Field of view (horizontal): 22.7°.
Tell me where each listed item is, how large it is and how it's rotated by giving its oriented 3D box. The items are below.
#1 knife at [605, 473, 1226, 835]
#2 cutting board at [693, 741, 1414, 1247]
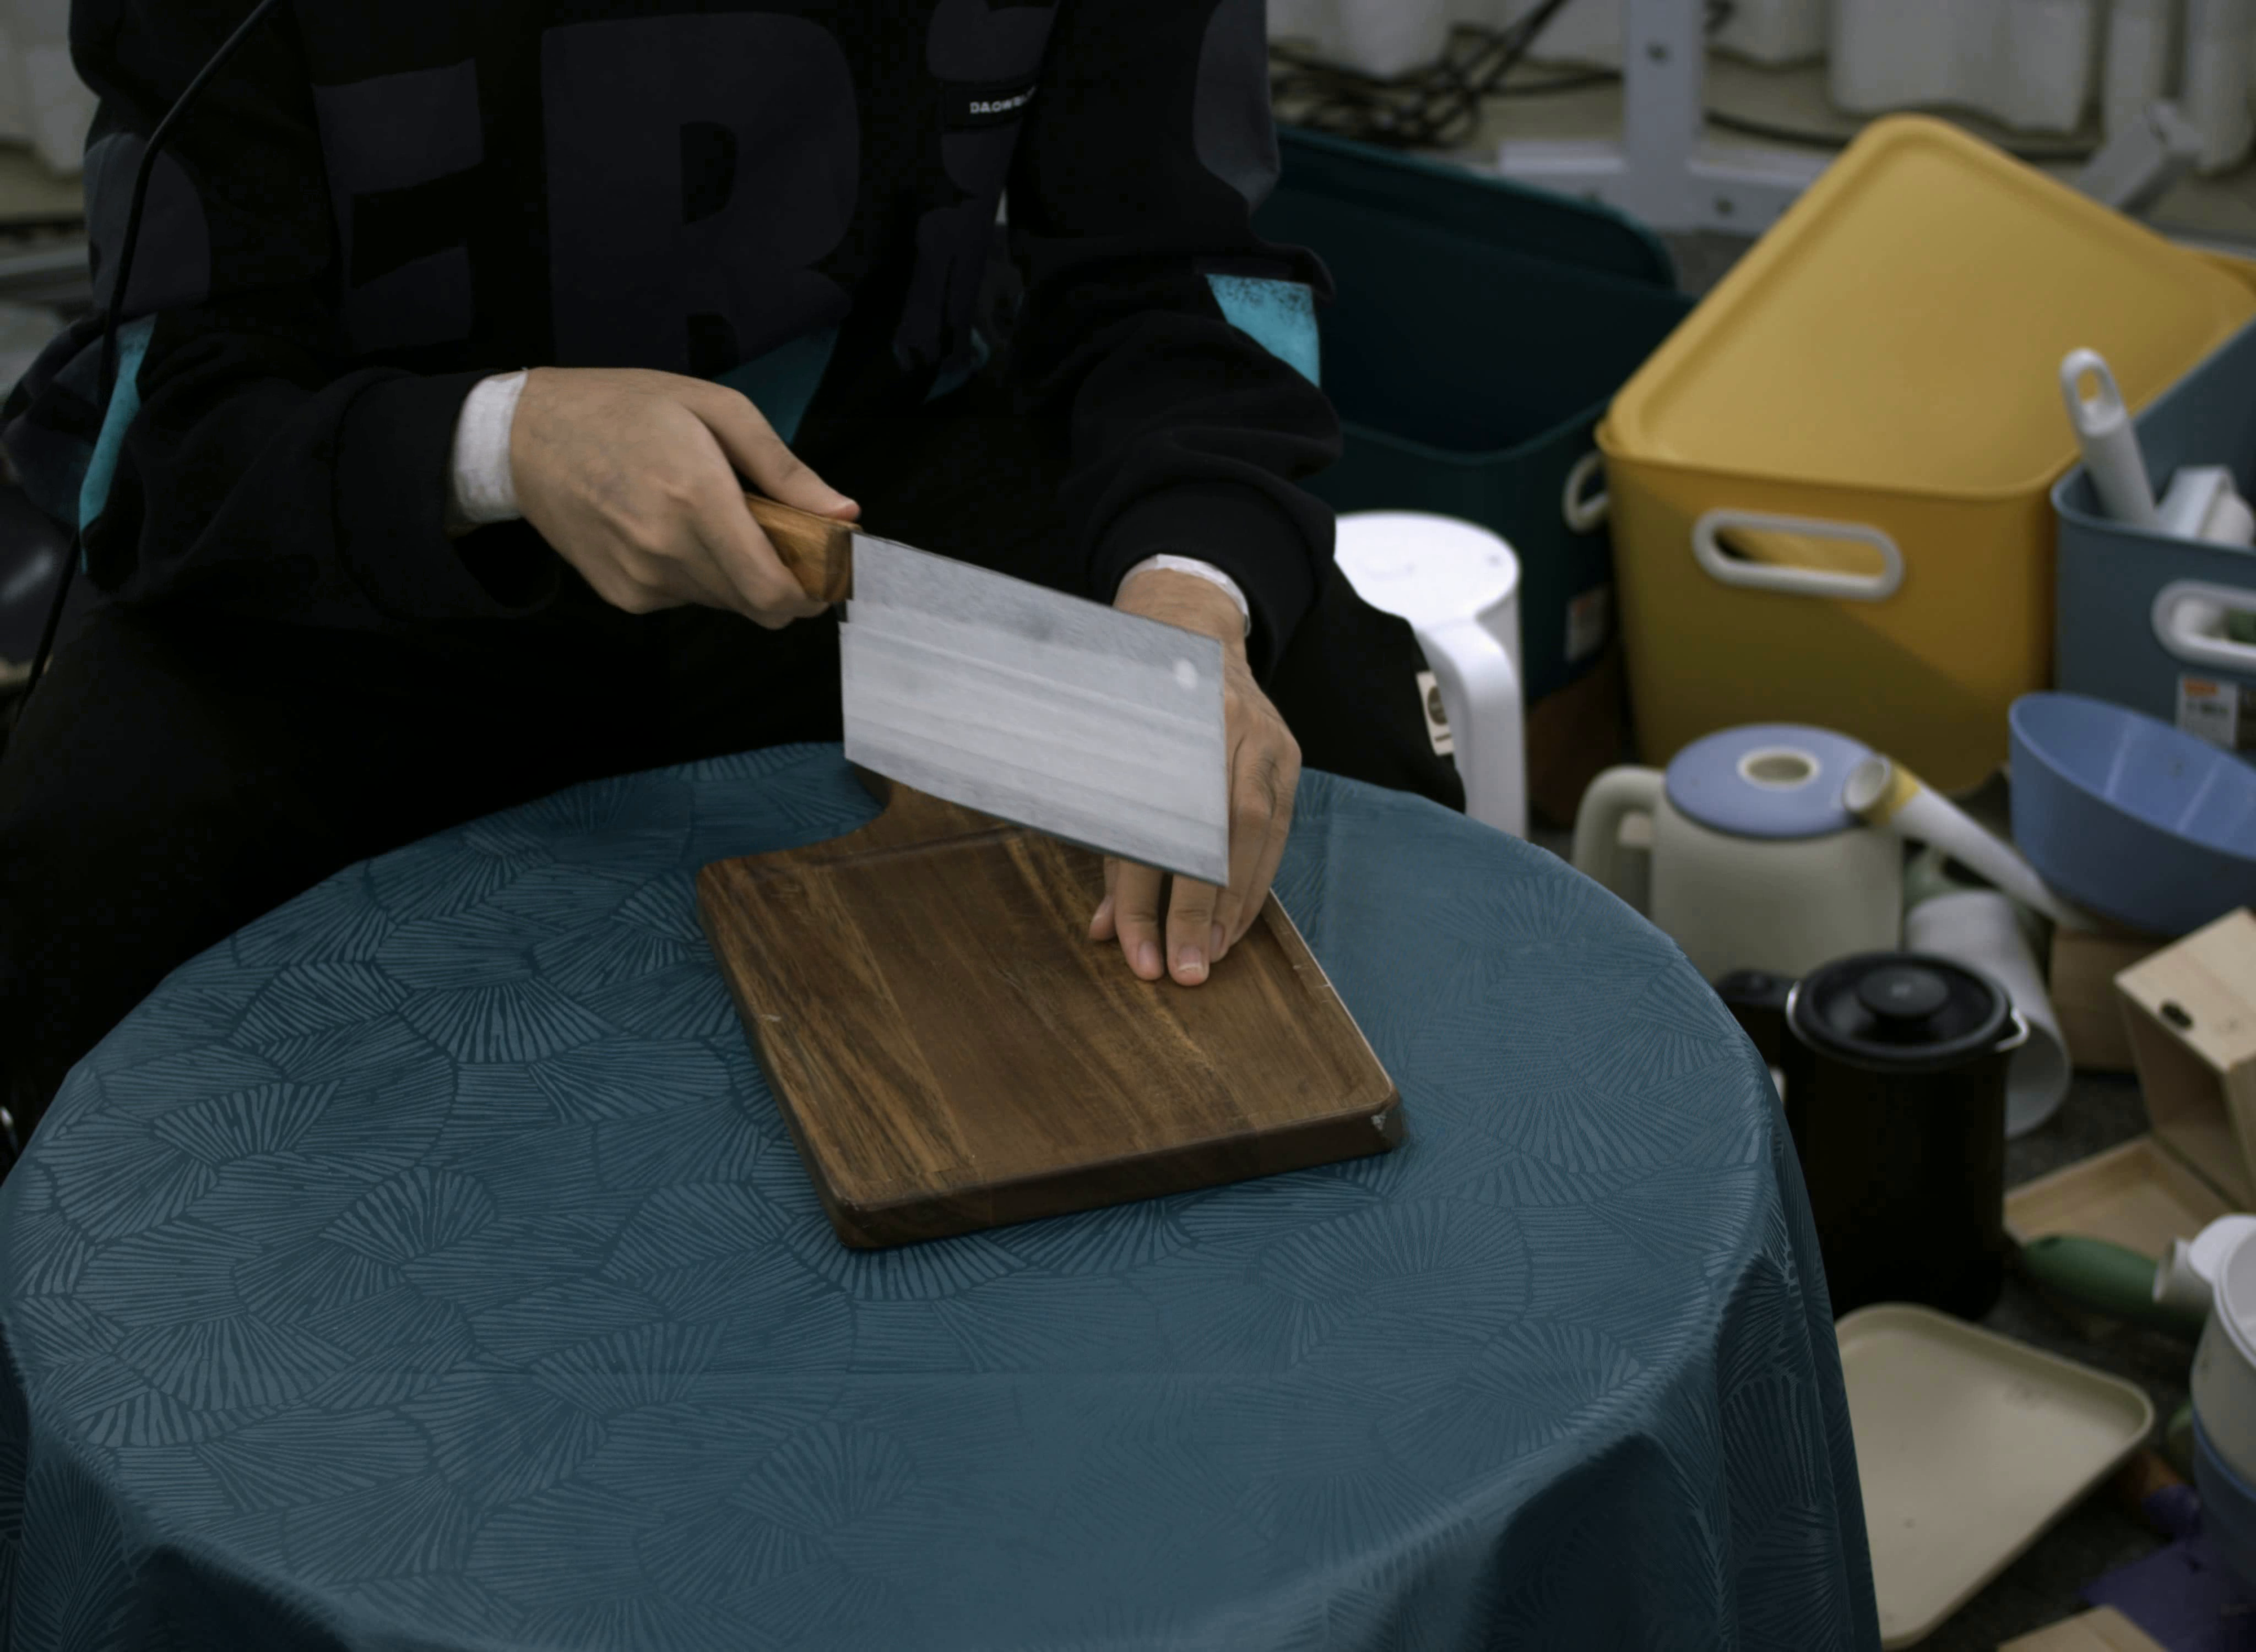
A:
[{"bbox_3d":[-0.077,-0.059,1.966,0.304,0.092,0.021,18,28,42],"label":"knife"},{"bbox_3d":[-0.044,0.043,2.002,0.201,0.023,0.355,-9,26,-13],"label":"cutting board"}]
